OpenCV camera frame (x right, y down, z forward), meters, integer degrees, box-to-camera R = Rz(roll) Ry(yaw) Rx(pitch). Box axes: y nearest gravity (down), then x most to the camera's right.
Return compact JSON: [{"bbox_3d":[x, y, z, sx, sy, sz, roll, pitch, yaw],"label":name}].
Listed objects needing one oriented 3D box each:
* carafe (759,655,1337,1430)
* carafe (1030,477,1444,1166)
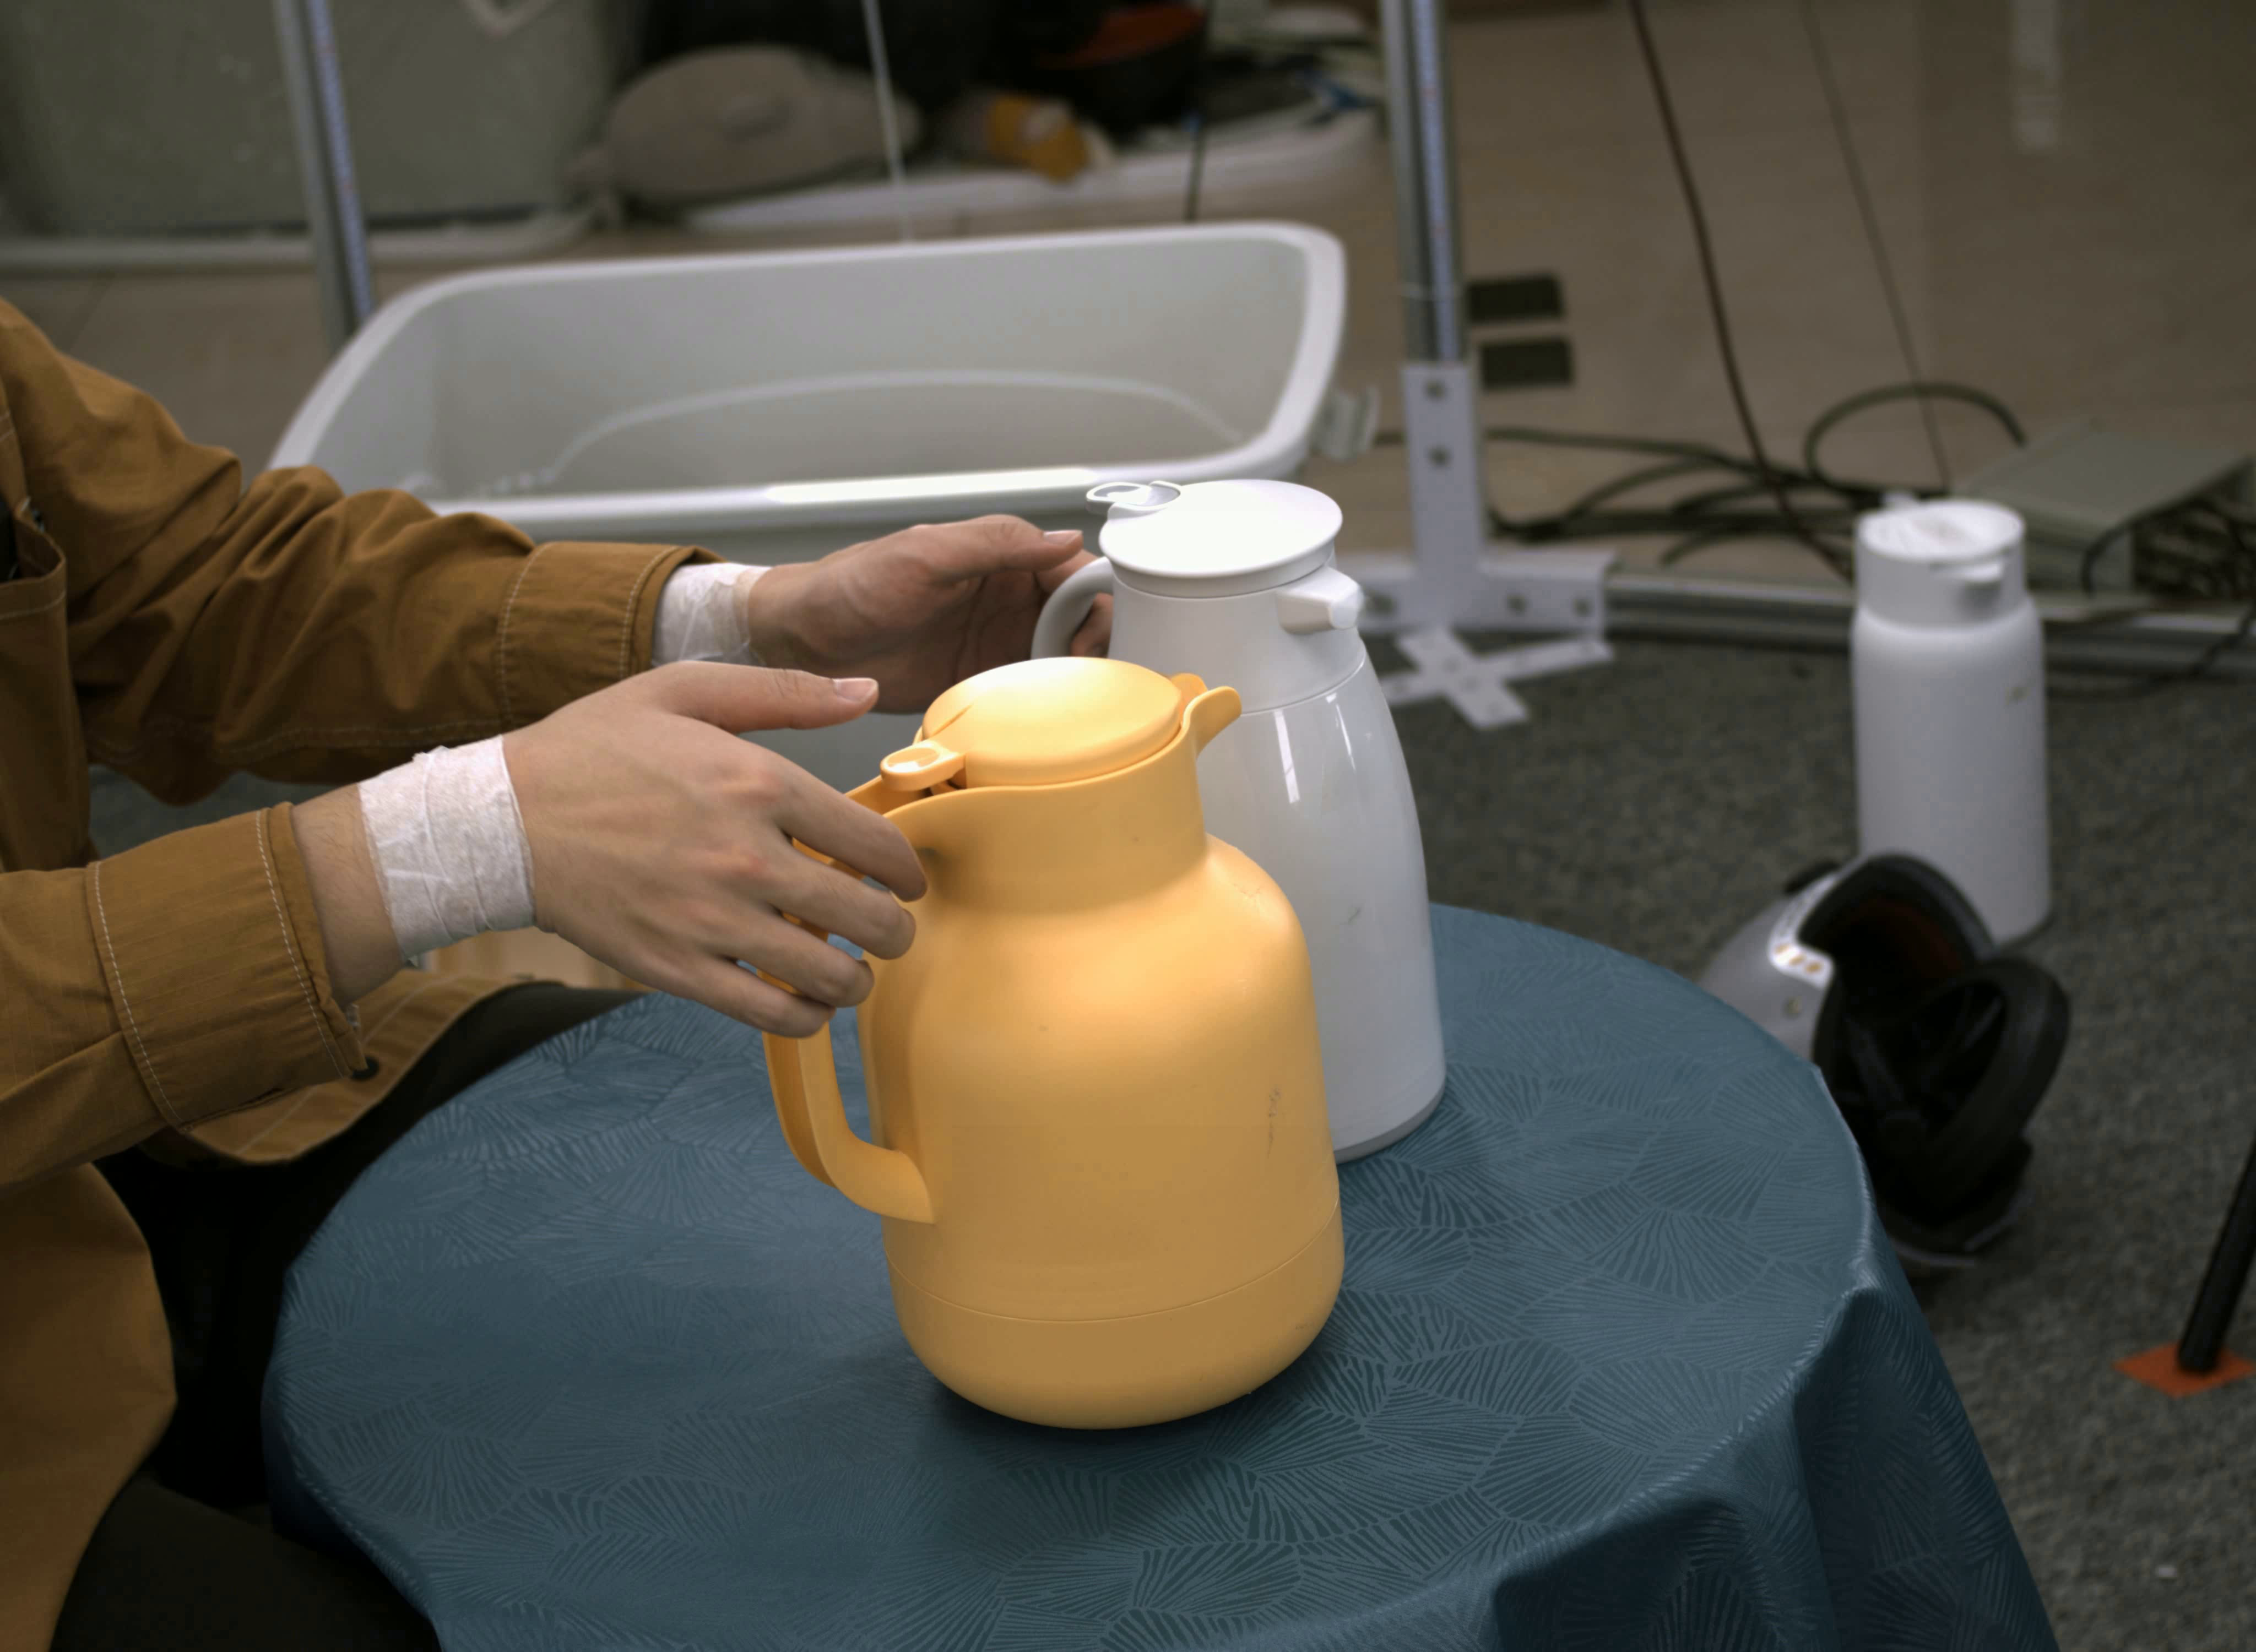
[{"bbox_3d":[-0.032,0.076,1.979,0.201,0.264,0.162,-19,26,-27],"label":"carafe"},{"bbox_3d":[0.031,-0.010,2.164,0.166,0.252,0.131,16,34,40],"label":"carafe"}]
